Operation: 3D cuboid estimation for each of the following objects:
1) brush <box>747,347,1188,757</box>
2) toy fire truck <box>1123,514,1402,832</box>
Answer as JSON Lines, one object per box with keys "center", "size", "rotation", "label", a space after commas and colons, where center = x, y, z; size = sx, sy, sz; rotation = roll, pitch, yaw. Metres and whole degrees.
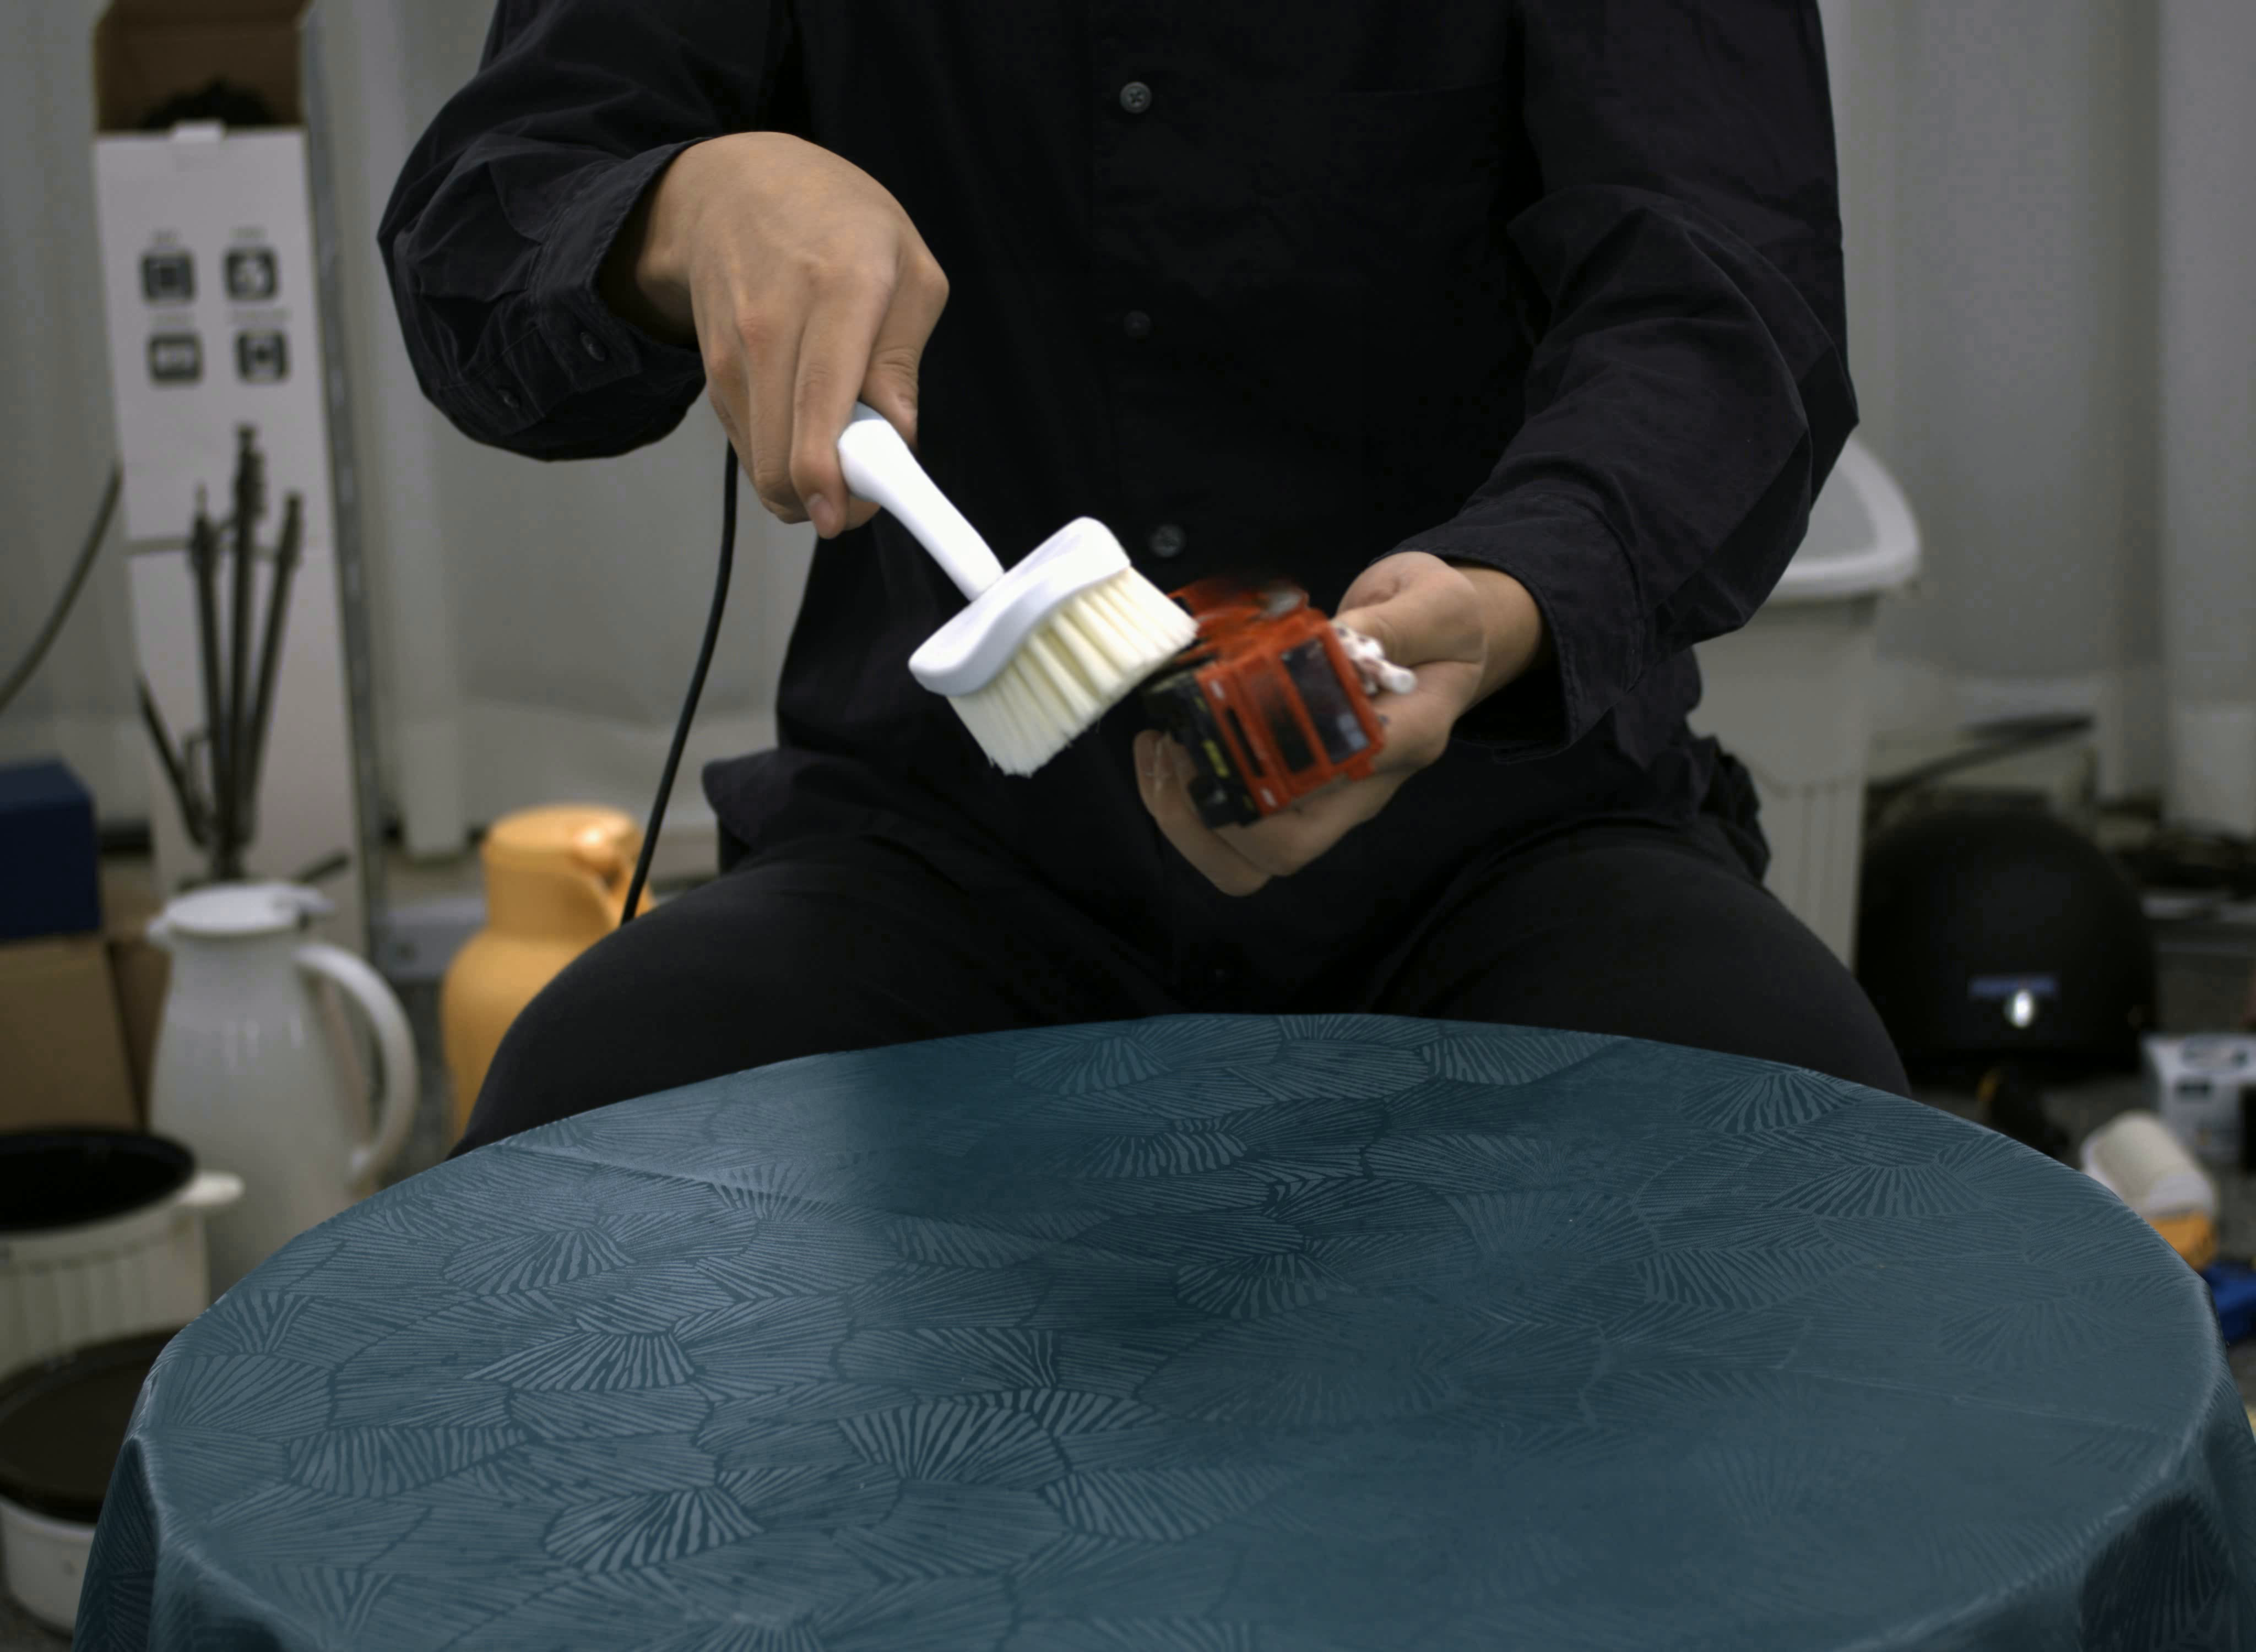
{"center": [-0.043, -0.080, 1.618], "size": [0.083, 0.084, 0.328], "rotation": [-7, 16, -14], "label": "brush"}
{"center": [0.034, -0.045, 1.529], "size": [0.070, 0.054, 0.169], "rotation": [-26, 11, -1], "label": "toy fire truck"}
